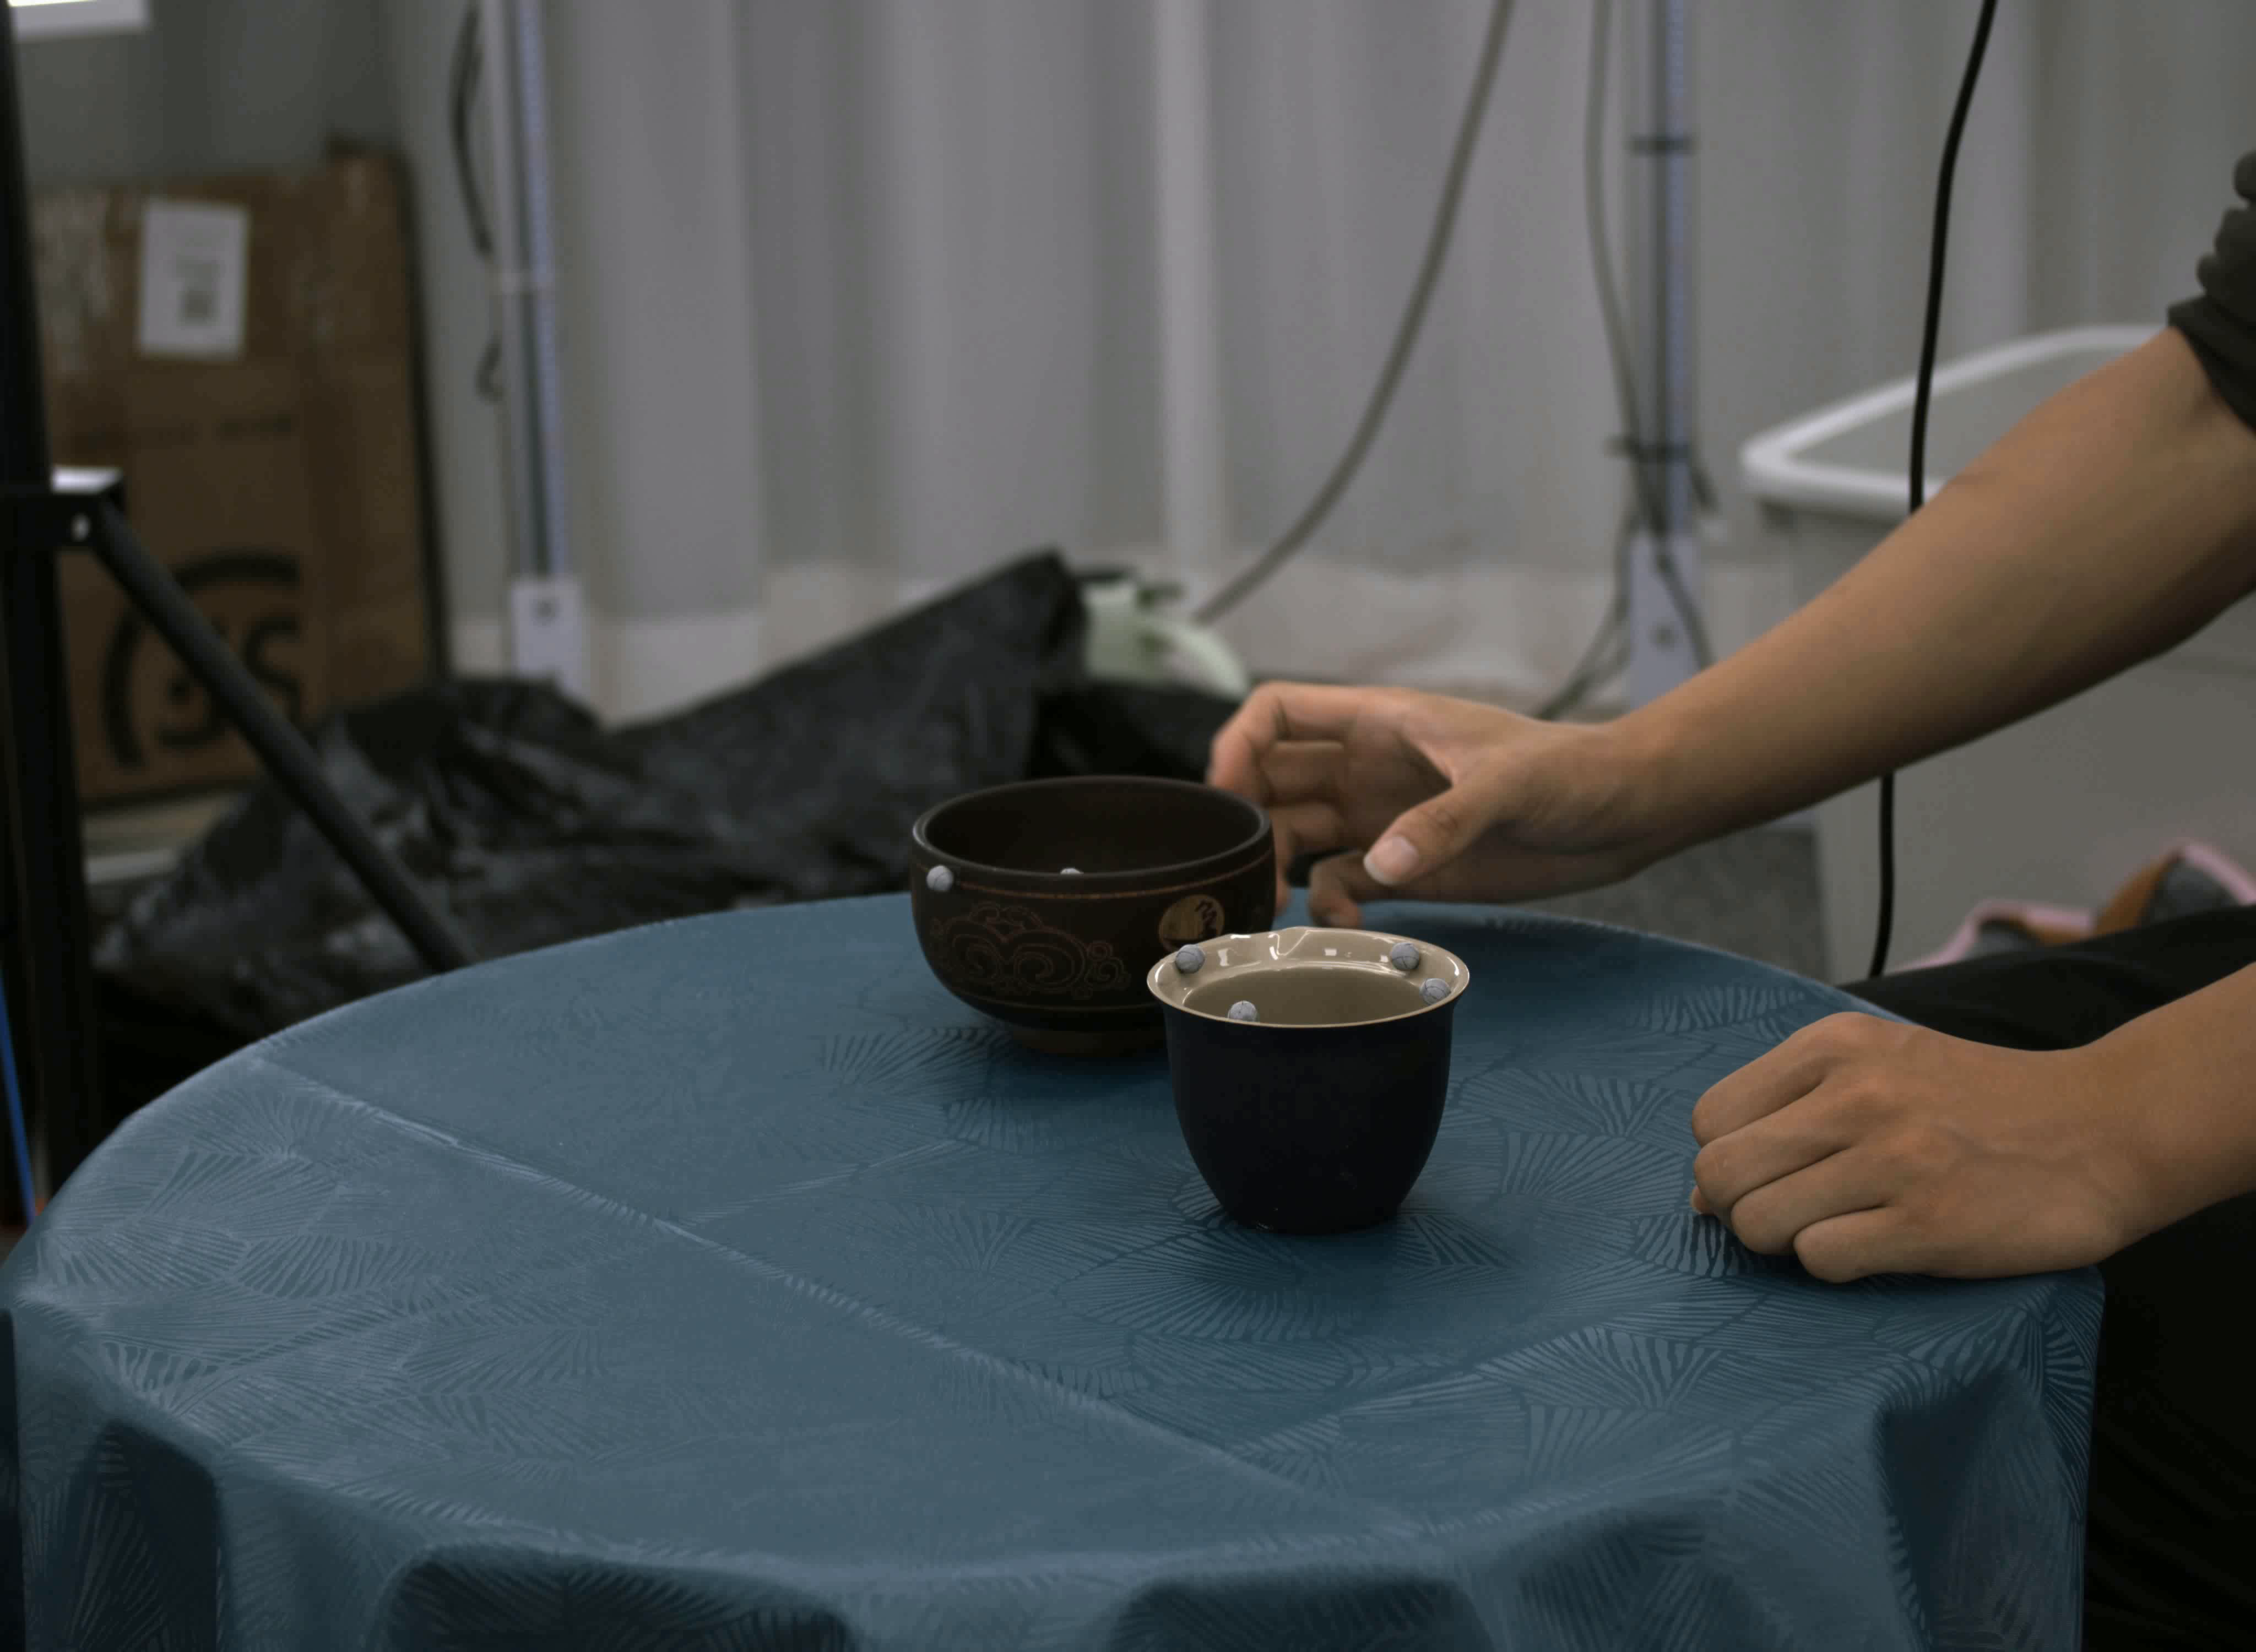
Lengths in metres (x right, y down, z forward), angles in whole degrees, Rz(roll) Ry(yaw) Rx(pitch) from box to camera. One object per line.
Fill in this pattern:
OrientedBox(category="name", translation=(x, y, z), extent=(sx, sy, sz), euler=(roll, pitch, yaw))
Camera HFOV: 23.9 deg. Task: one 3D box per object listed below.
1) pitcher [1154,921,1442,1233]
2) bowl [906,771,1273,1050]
OrientedBox(category="pitcher", translation=(0.049, 0.075, 1.535), extent=(0.083, 0.071, 0.097), euler=(-5, 16, -5))
OrientedBox(category="bowl", translation=(-0.012, 0.030, 1.701), extent=(0.117, 0.070, 0.118), euler=(-1, 16, -1))
